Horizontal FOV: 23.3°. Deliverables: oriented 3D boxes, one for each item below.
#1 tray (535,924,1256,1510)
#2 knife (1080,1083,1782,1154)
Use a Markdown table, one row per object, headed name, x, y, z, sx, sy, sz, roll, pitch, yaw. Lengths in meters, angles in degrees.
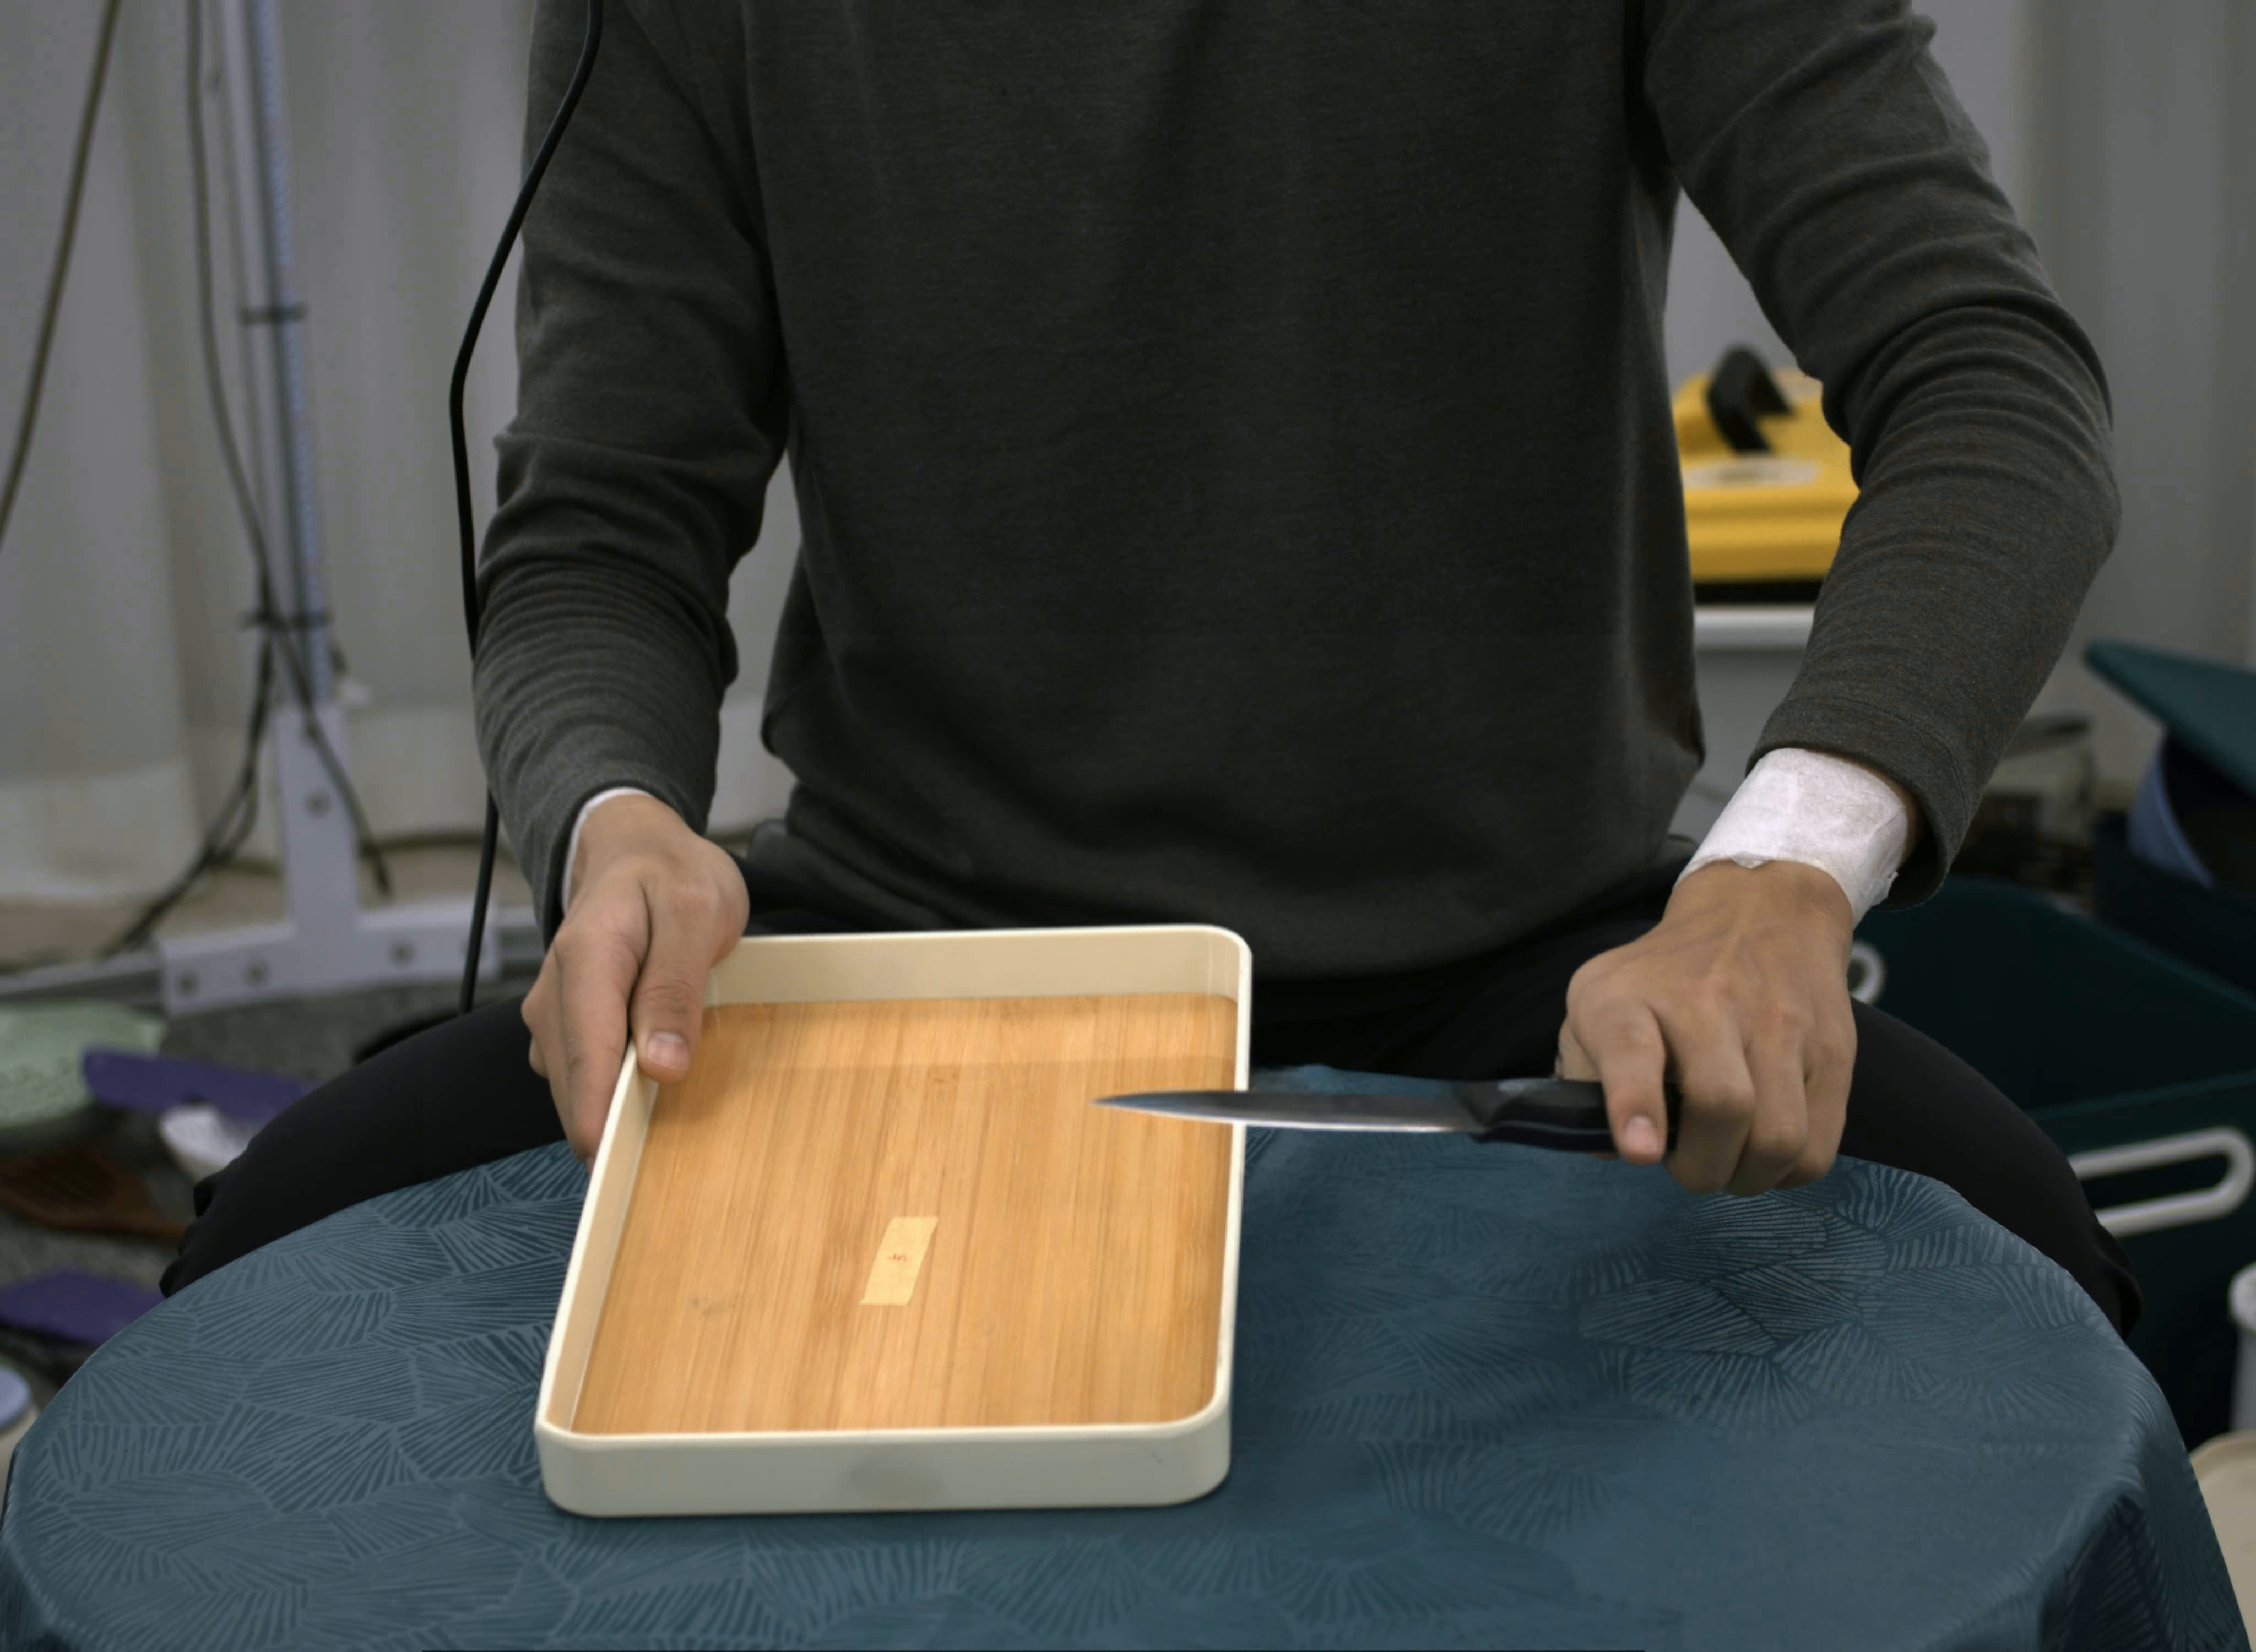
| name | x | y | z | sx | sy | sz | roll | pitch | yaw |
| --- | --- | --- | --- | --- | --- | --- | --- | --- | --- |
| tray | -0.060 | 0.109 | 1.596 | 0.191 | 0.027 | 0.303 | -1 | 26 | 4 |
| knife | 0.084 | 0.080 | 1.502 | 0.236 | 0.016 | 0.025 | 3 | 19 | -34 |
